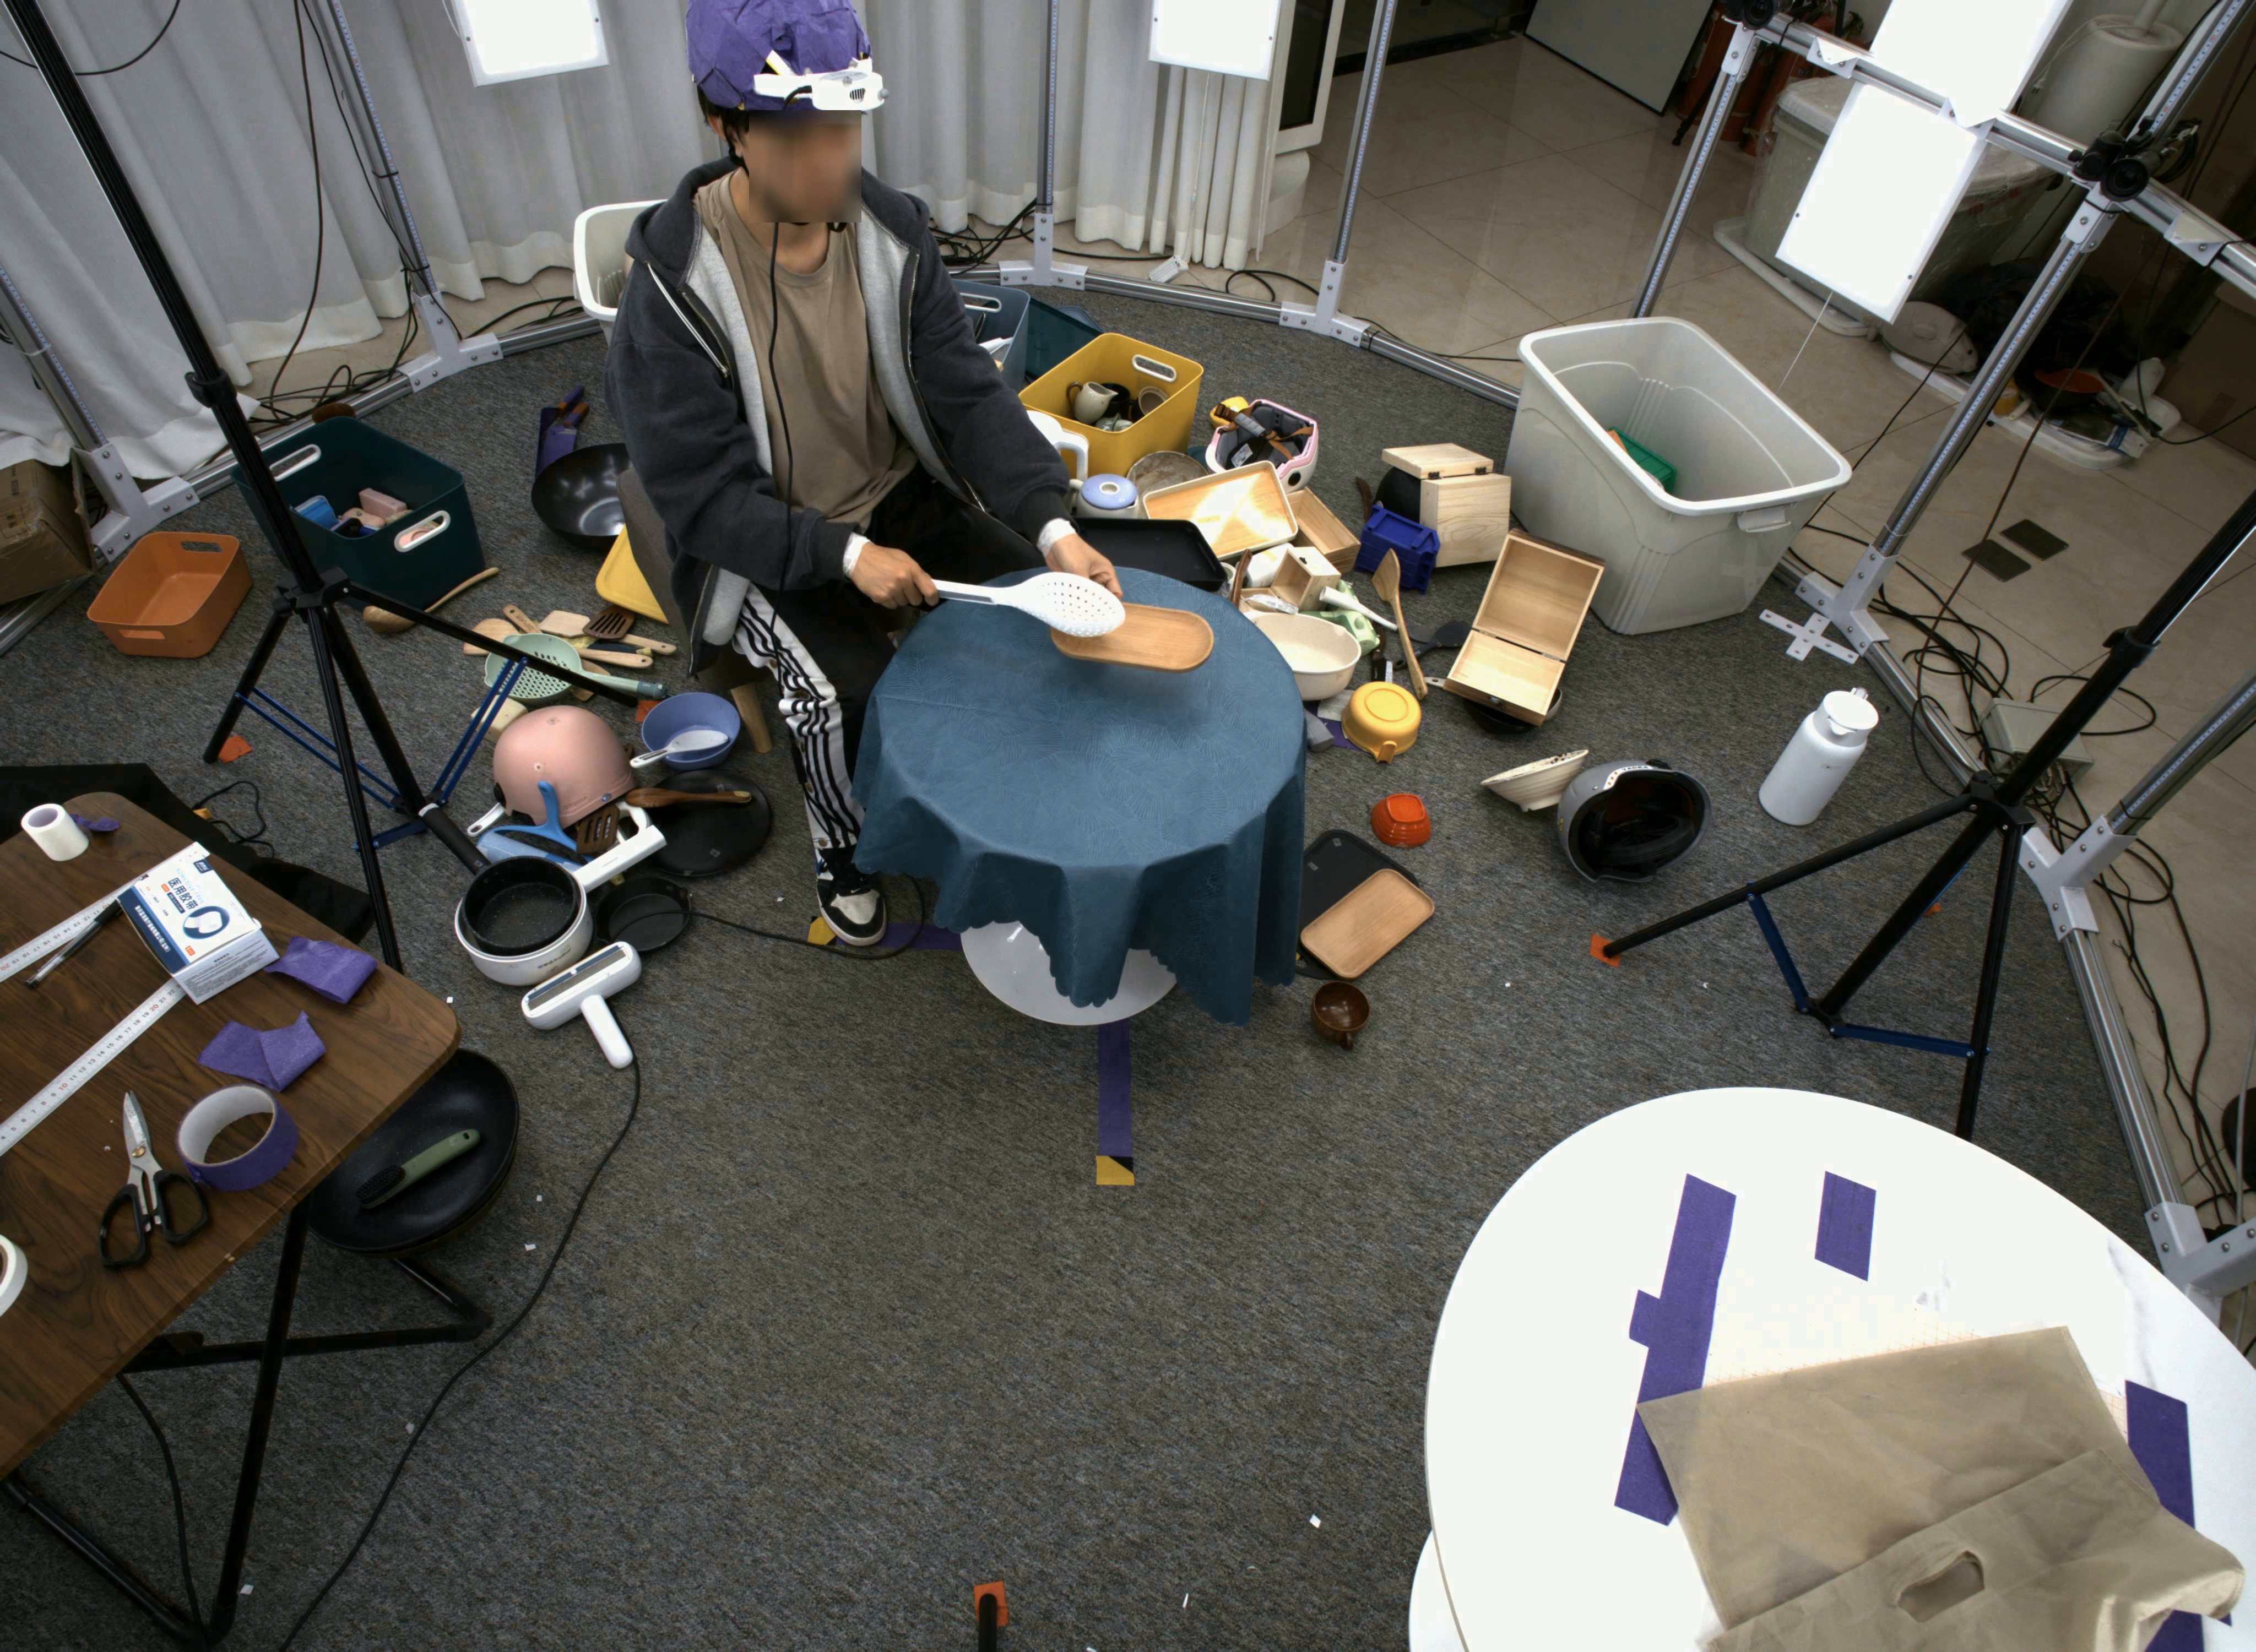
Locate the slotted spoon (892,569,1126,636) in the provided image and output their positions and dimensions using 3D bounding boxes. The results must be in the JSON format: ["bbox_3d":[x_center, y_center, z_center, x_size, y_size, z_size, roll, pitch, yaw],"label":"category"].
[{"bbox_3d":[-0.170,-0.318,1.781,0.352,0.133,0.046,15,67,22],"label":"slotted spoon"}]

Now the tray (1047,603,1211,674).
[{"bbox_3d":[0.001,-0.264,1.794,0.232,0.020,0.104,8,60,10],"label":"tray"}]
